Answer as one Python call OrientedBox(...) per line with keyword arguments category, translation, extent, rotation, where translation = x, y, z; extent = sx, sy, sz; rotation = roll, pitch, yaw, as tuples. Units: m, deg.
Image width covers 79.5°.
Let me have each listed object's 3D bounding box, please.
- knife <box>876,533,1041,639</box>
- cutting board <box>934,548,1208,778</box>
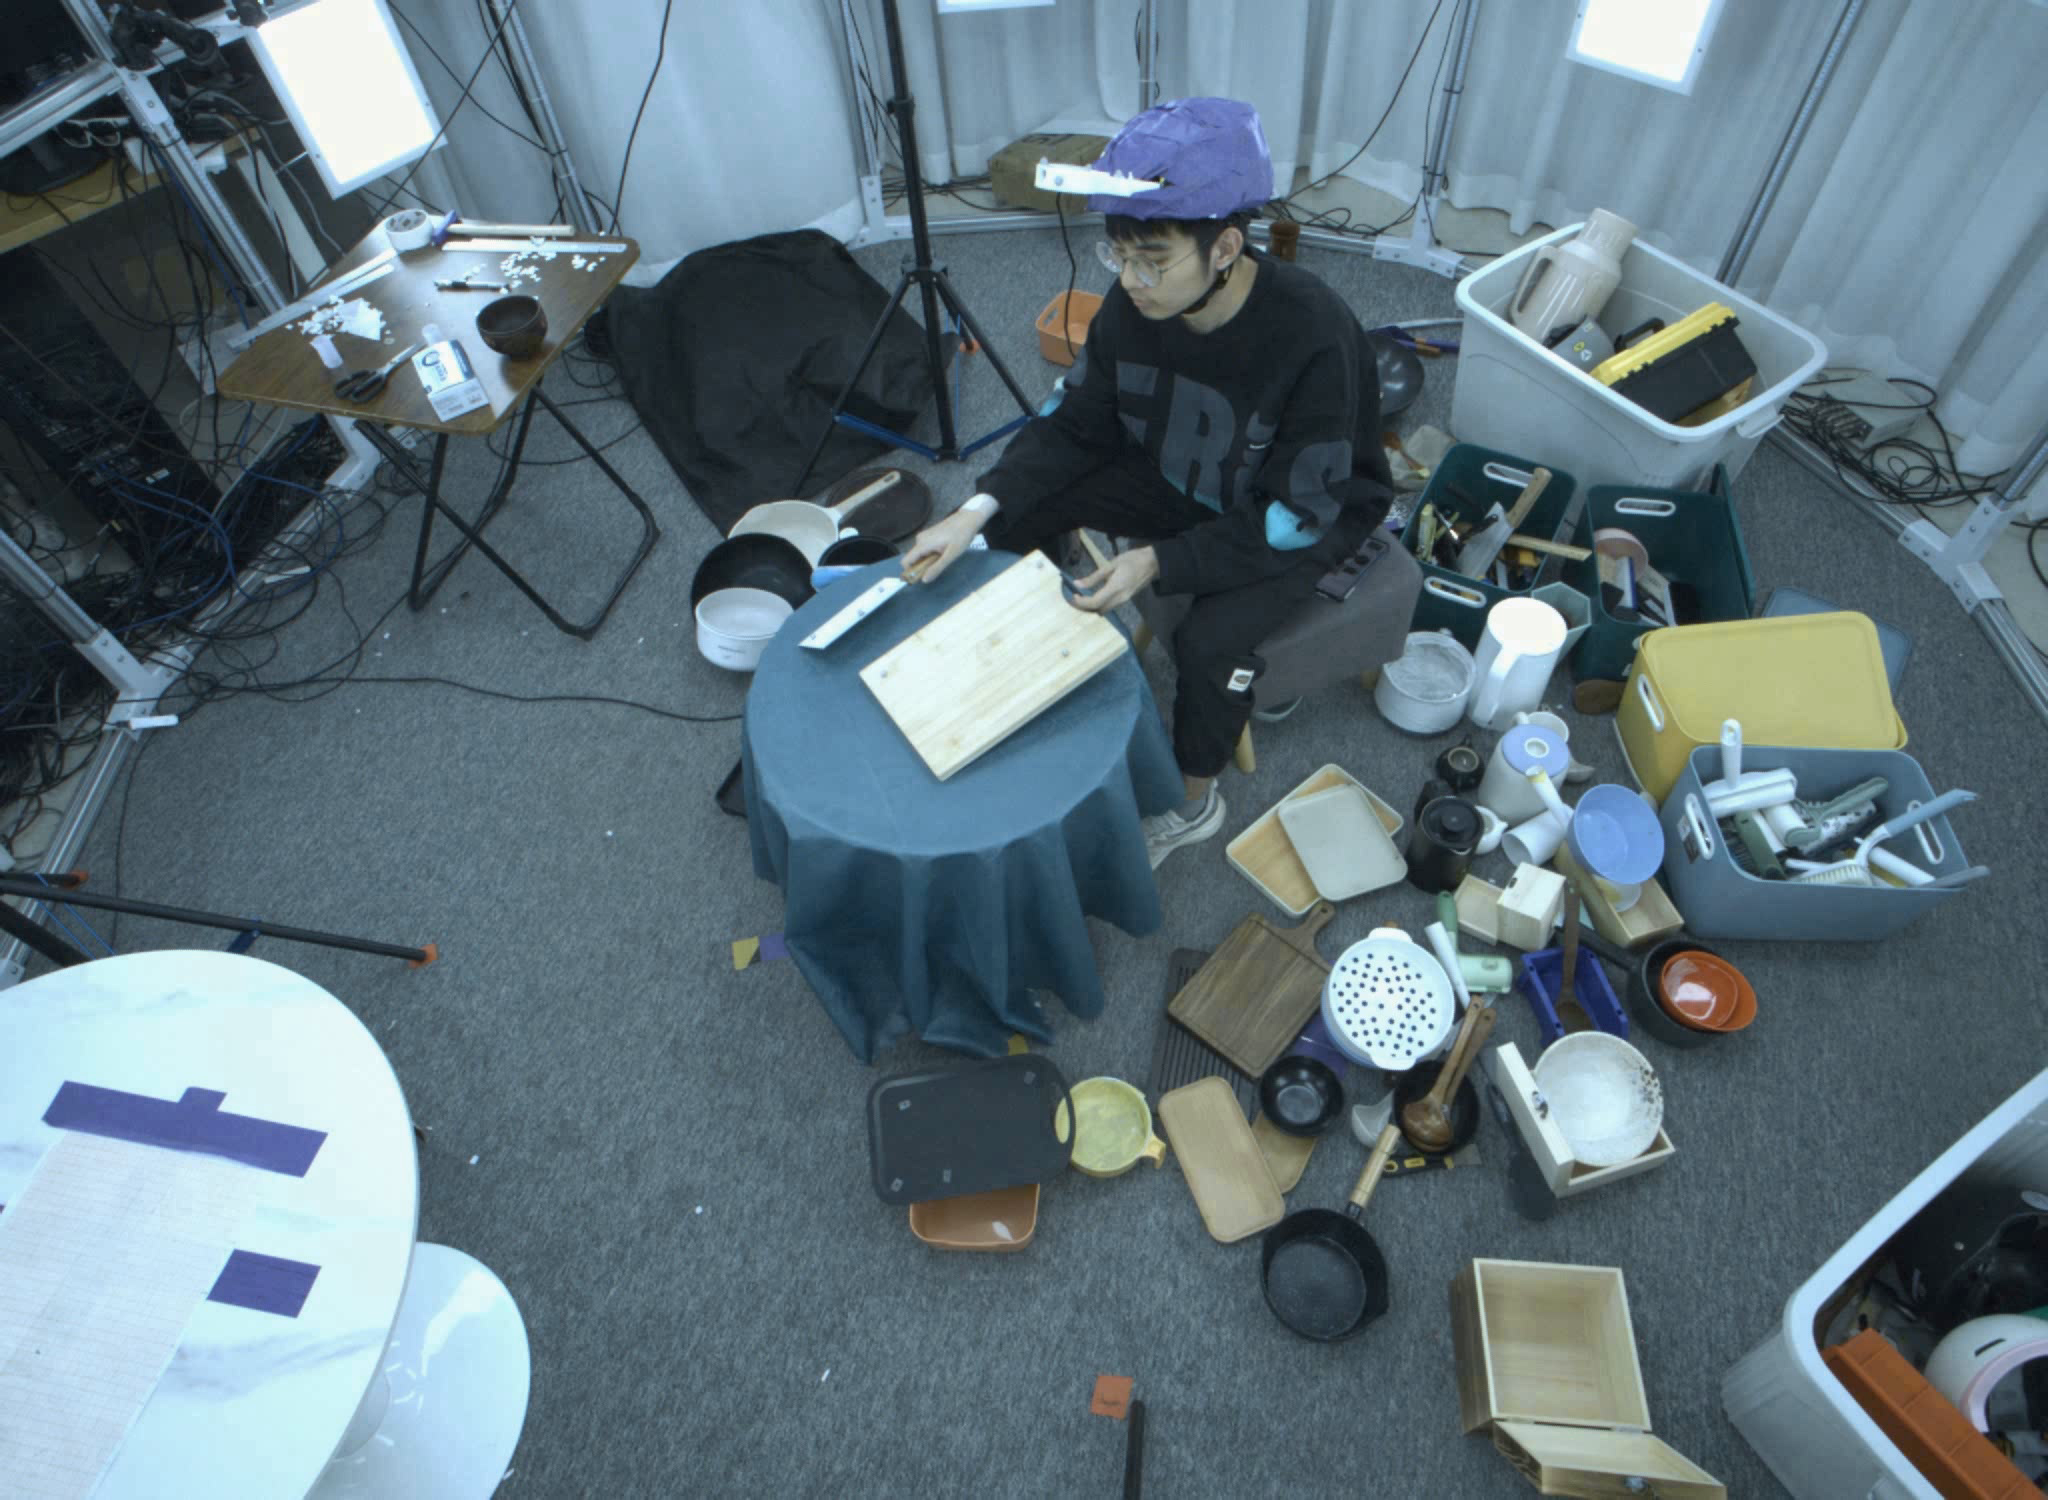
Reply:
OrientedBox(category="knife", translation=(-0.107, -0.263, 1.946), extent=(0.308, 0.021, 0.091), rotation=(-38, 30, -22))
OrientedBox(category="cutting board", translation=(0.062, -0.136, 1.827), extent=(0.349, 0.024, 0.246), rotation=(-33, 59, -6))
